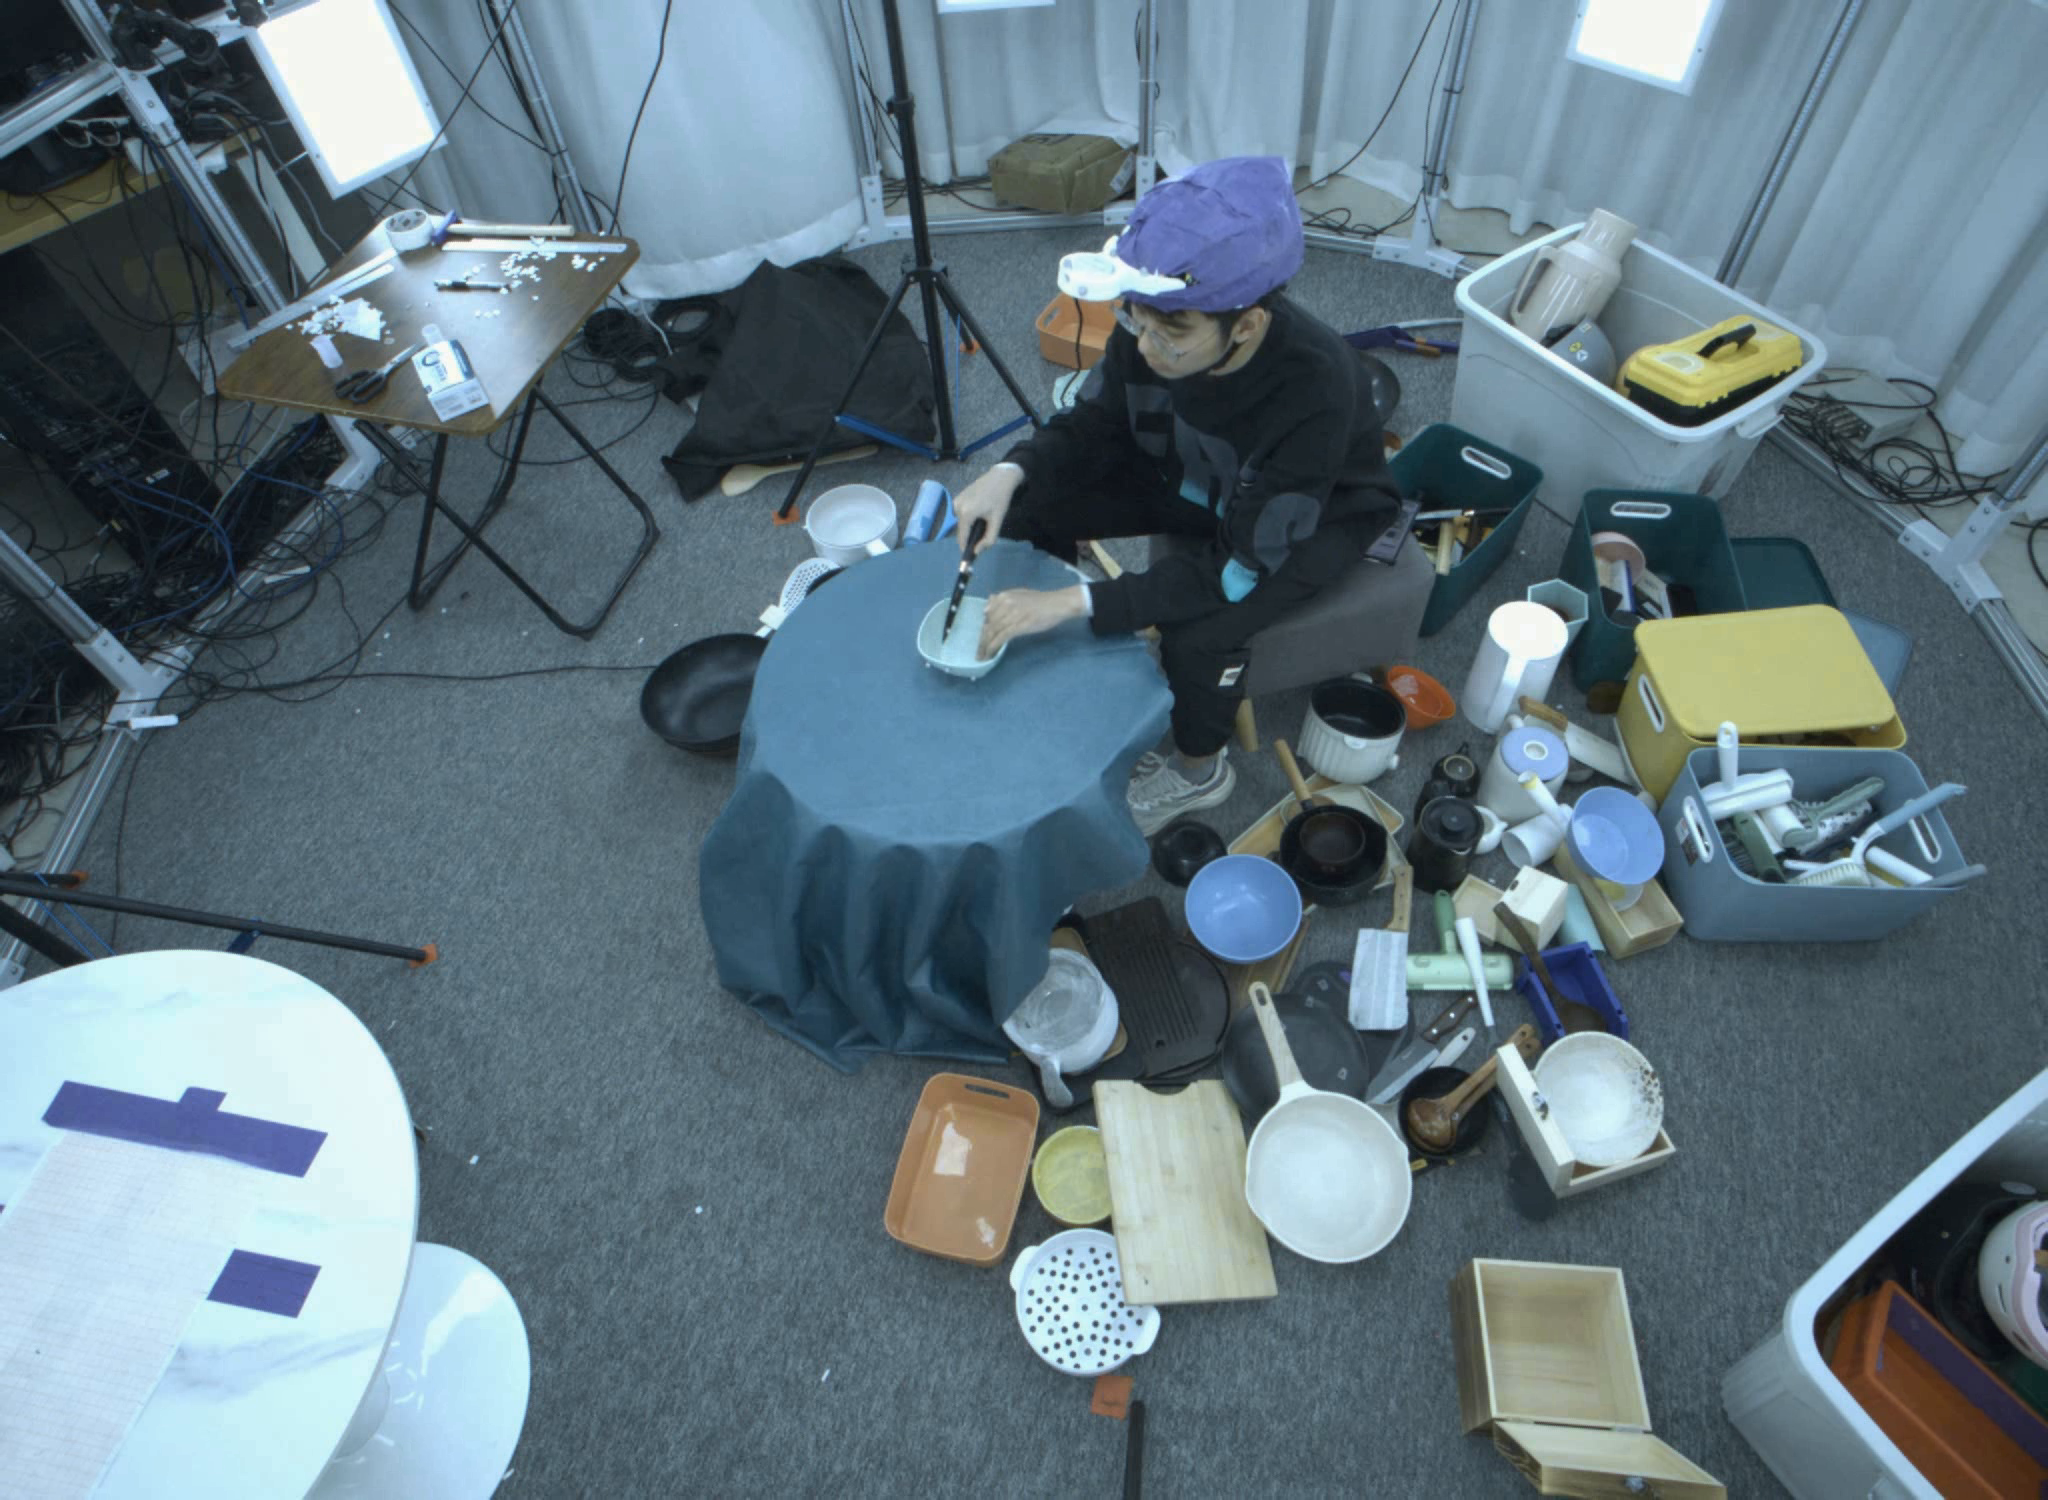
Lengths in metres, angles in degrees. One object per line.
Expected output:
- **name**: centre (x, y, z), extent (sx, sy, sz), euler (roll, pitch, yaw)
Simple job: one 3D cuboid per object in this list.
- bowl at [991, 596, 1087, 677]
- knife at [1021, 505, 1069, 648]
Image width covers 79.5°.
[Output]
- **bowl**: centre (0.024, -0.163, 1.868), extent (0.151, 0.059, 0.150), euler (-1, 54, 3)
- **knife**: centre (0.027, -0.263, 1.856), extent (0.017, 0.027, 0.225), euler (17, 89, 39)
